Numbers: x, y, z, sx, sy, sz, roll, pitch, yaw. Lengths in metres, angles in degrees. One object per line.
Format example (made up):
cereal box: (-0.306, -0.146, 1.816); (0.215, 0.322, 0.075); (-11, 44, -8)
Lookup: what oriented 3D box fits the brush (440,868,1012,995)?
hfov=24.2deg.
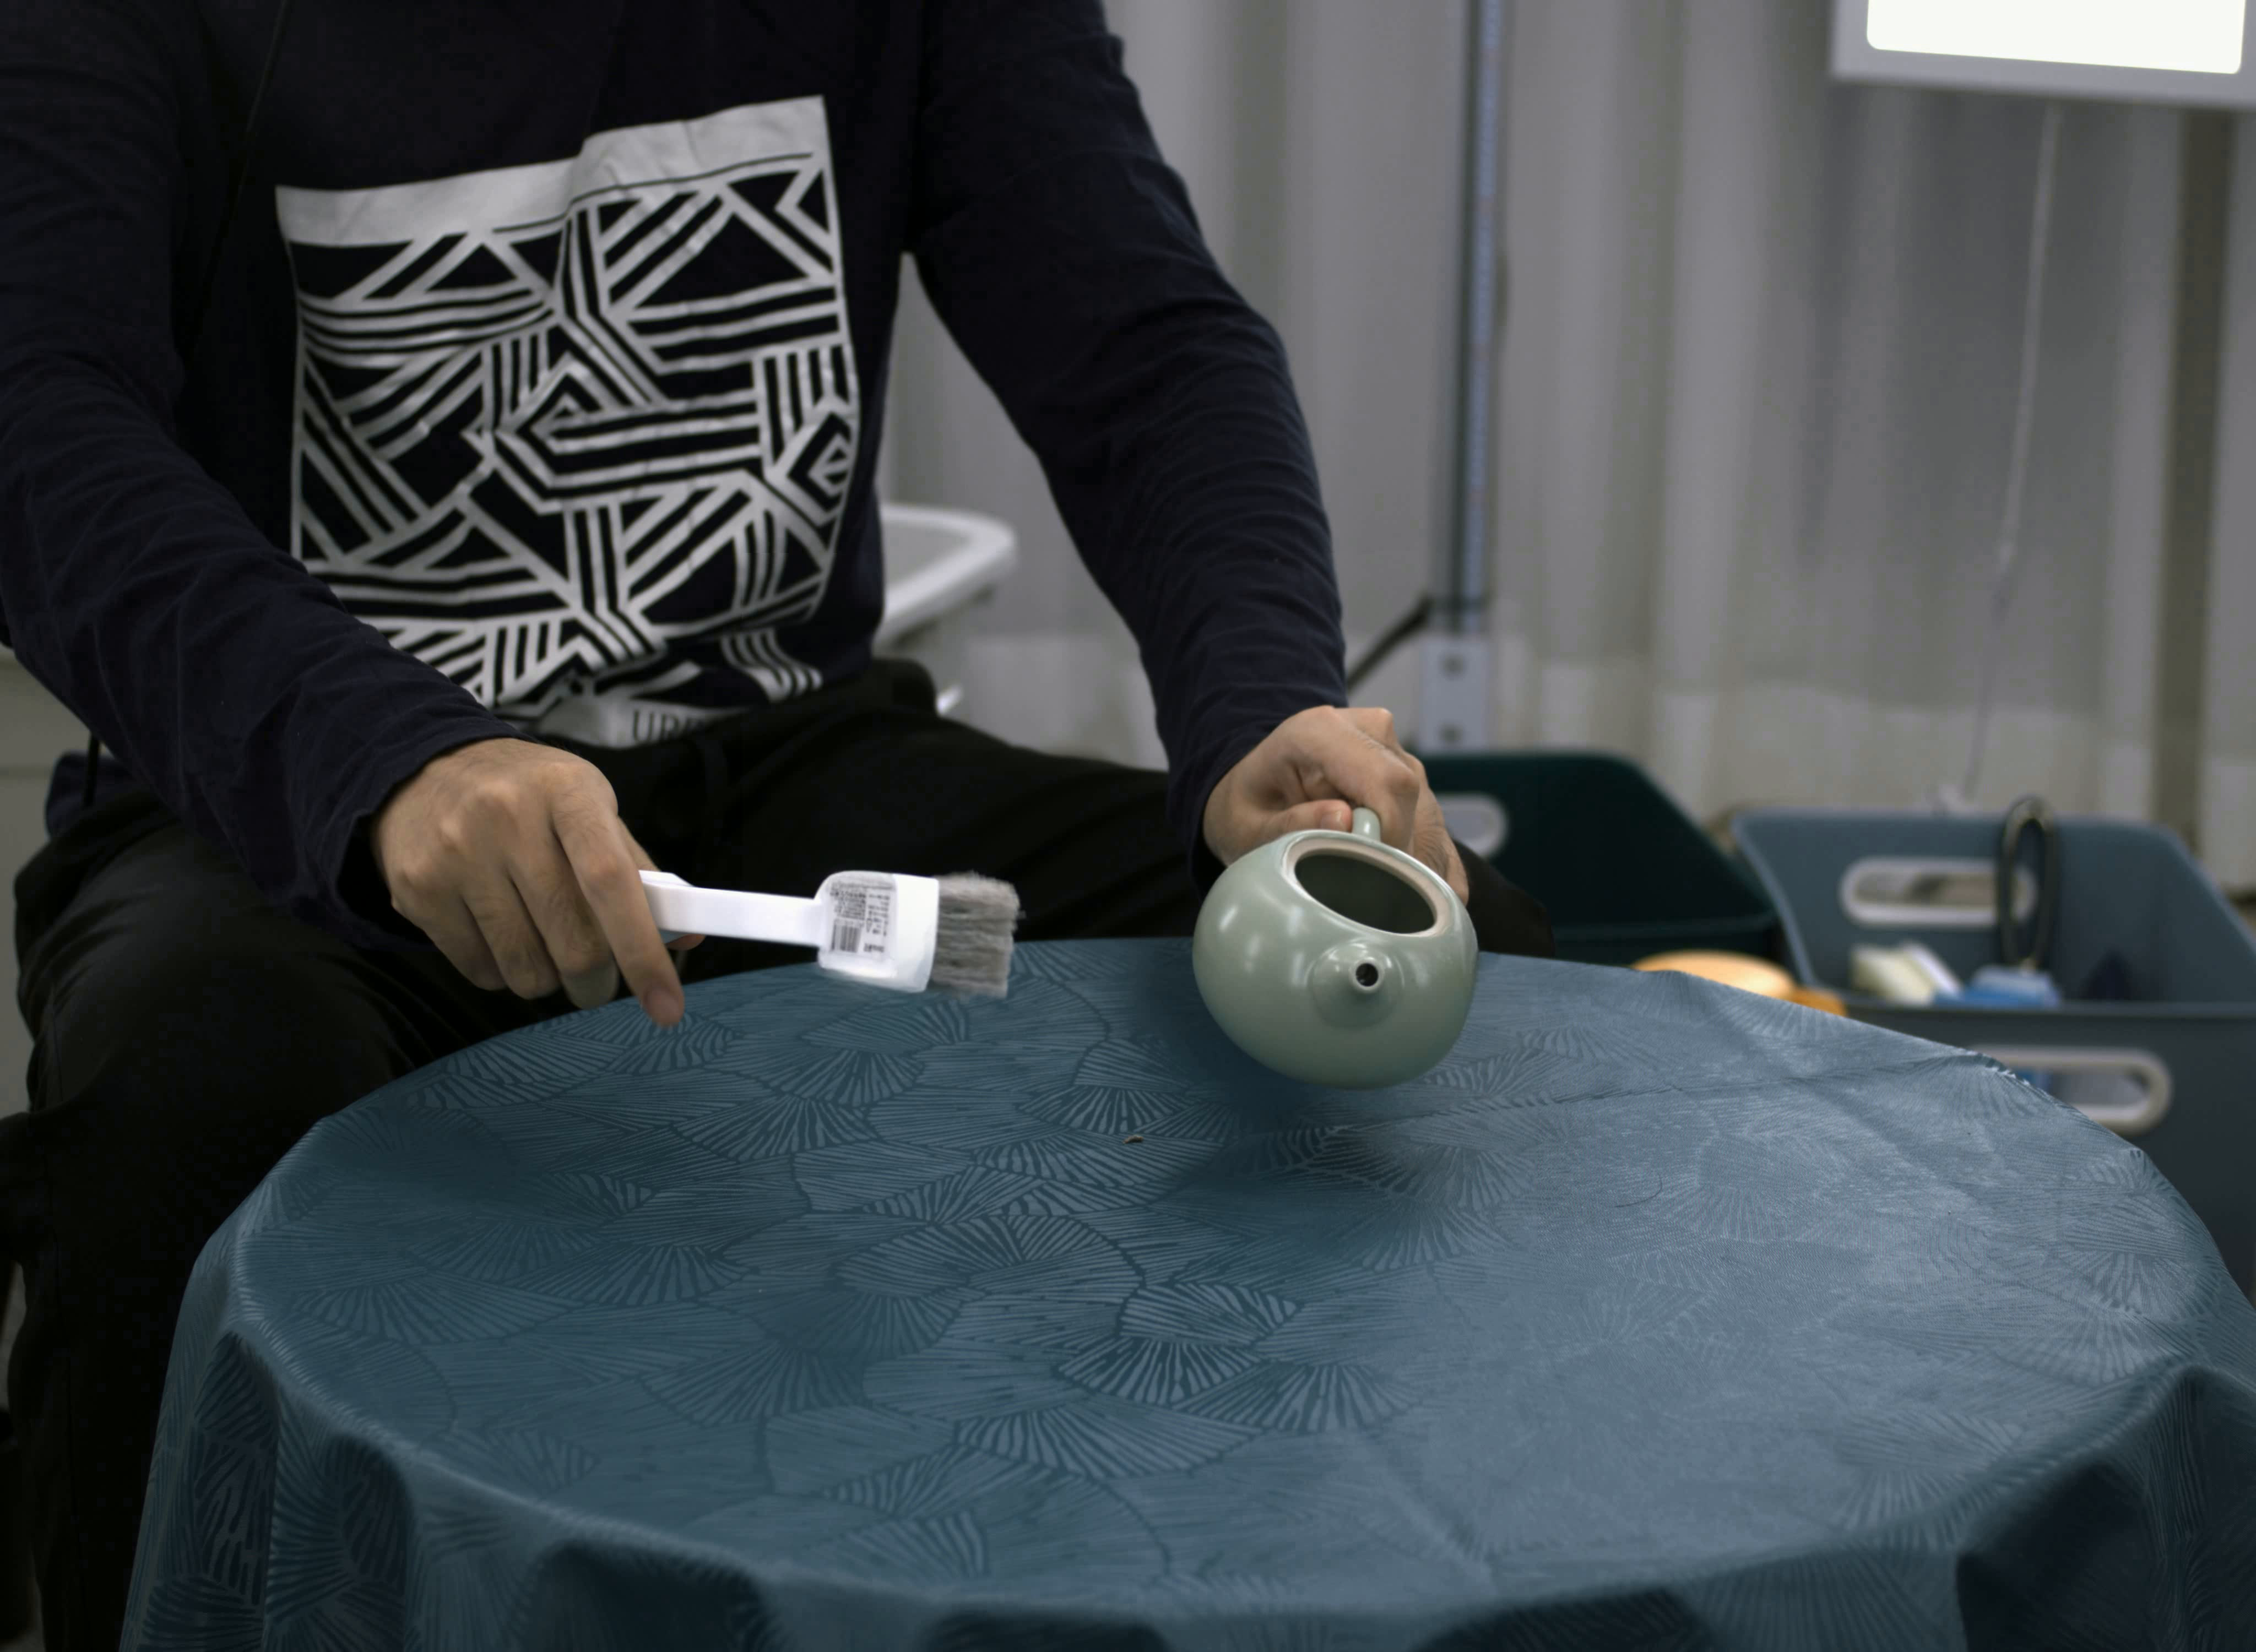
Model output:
brush: (-0.121, 0.031, 1.582); (0.051, 0.034, 0.241); (9, -6, -42)

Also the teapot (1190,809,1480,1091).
teapot: (0.066, 0.038, 1.651); (0.091, 0.061, 0.128); (16, 28, -1)
